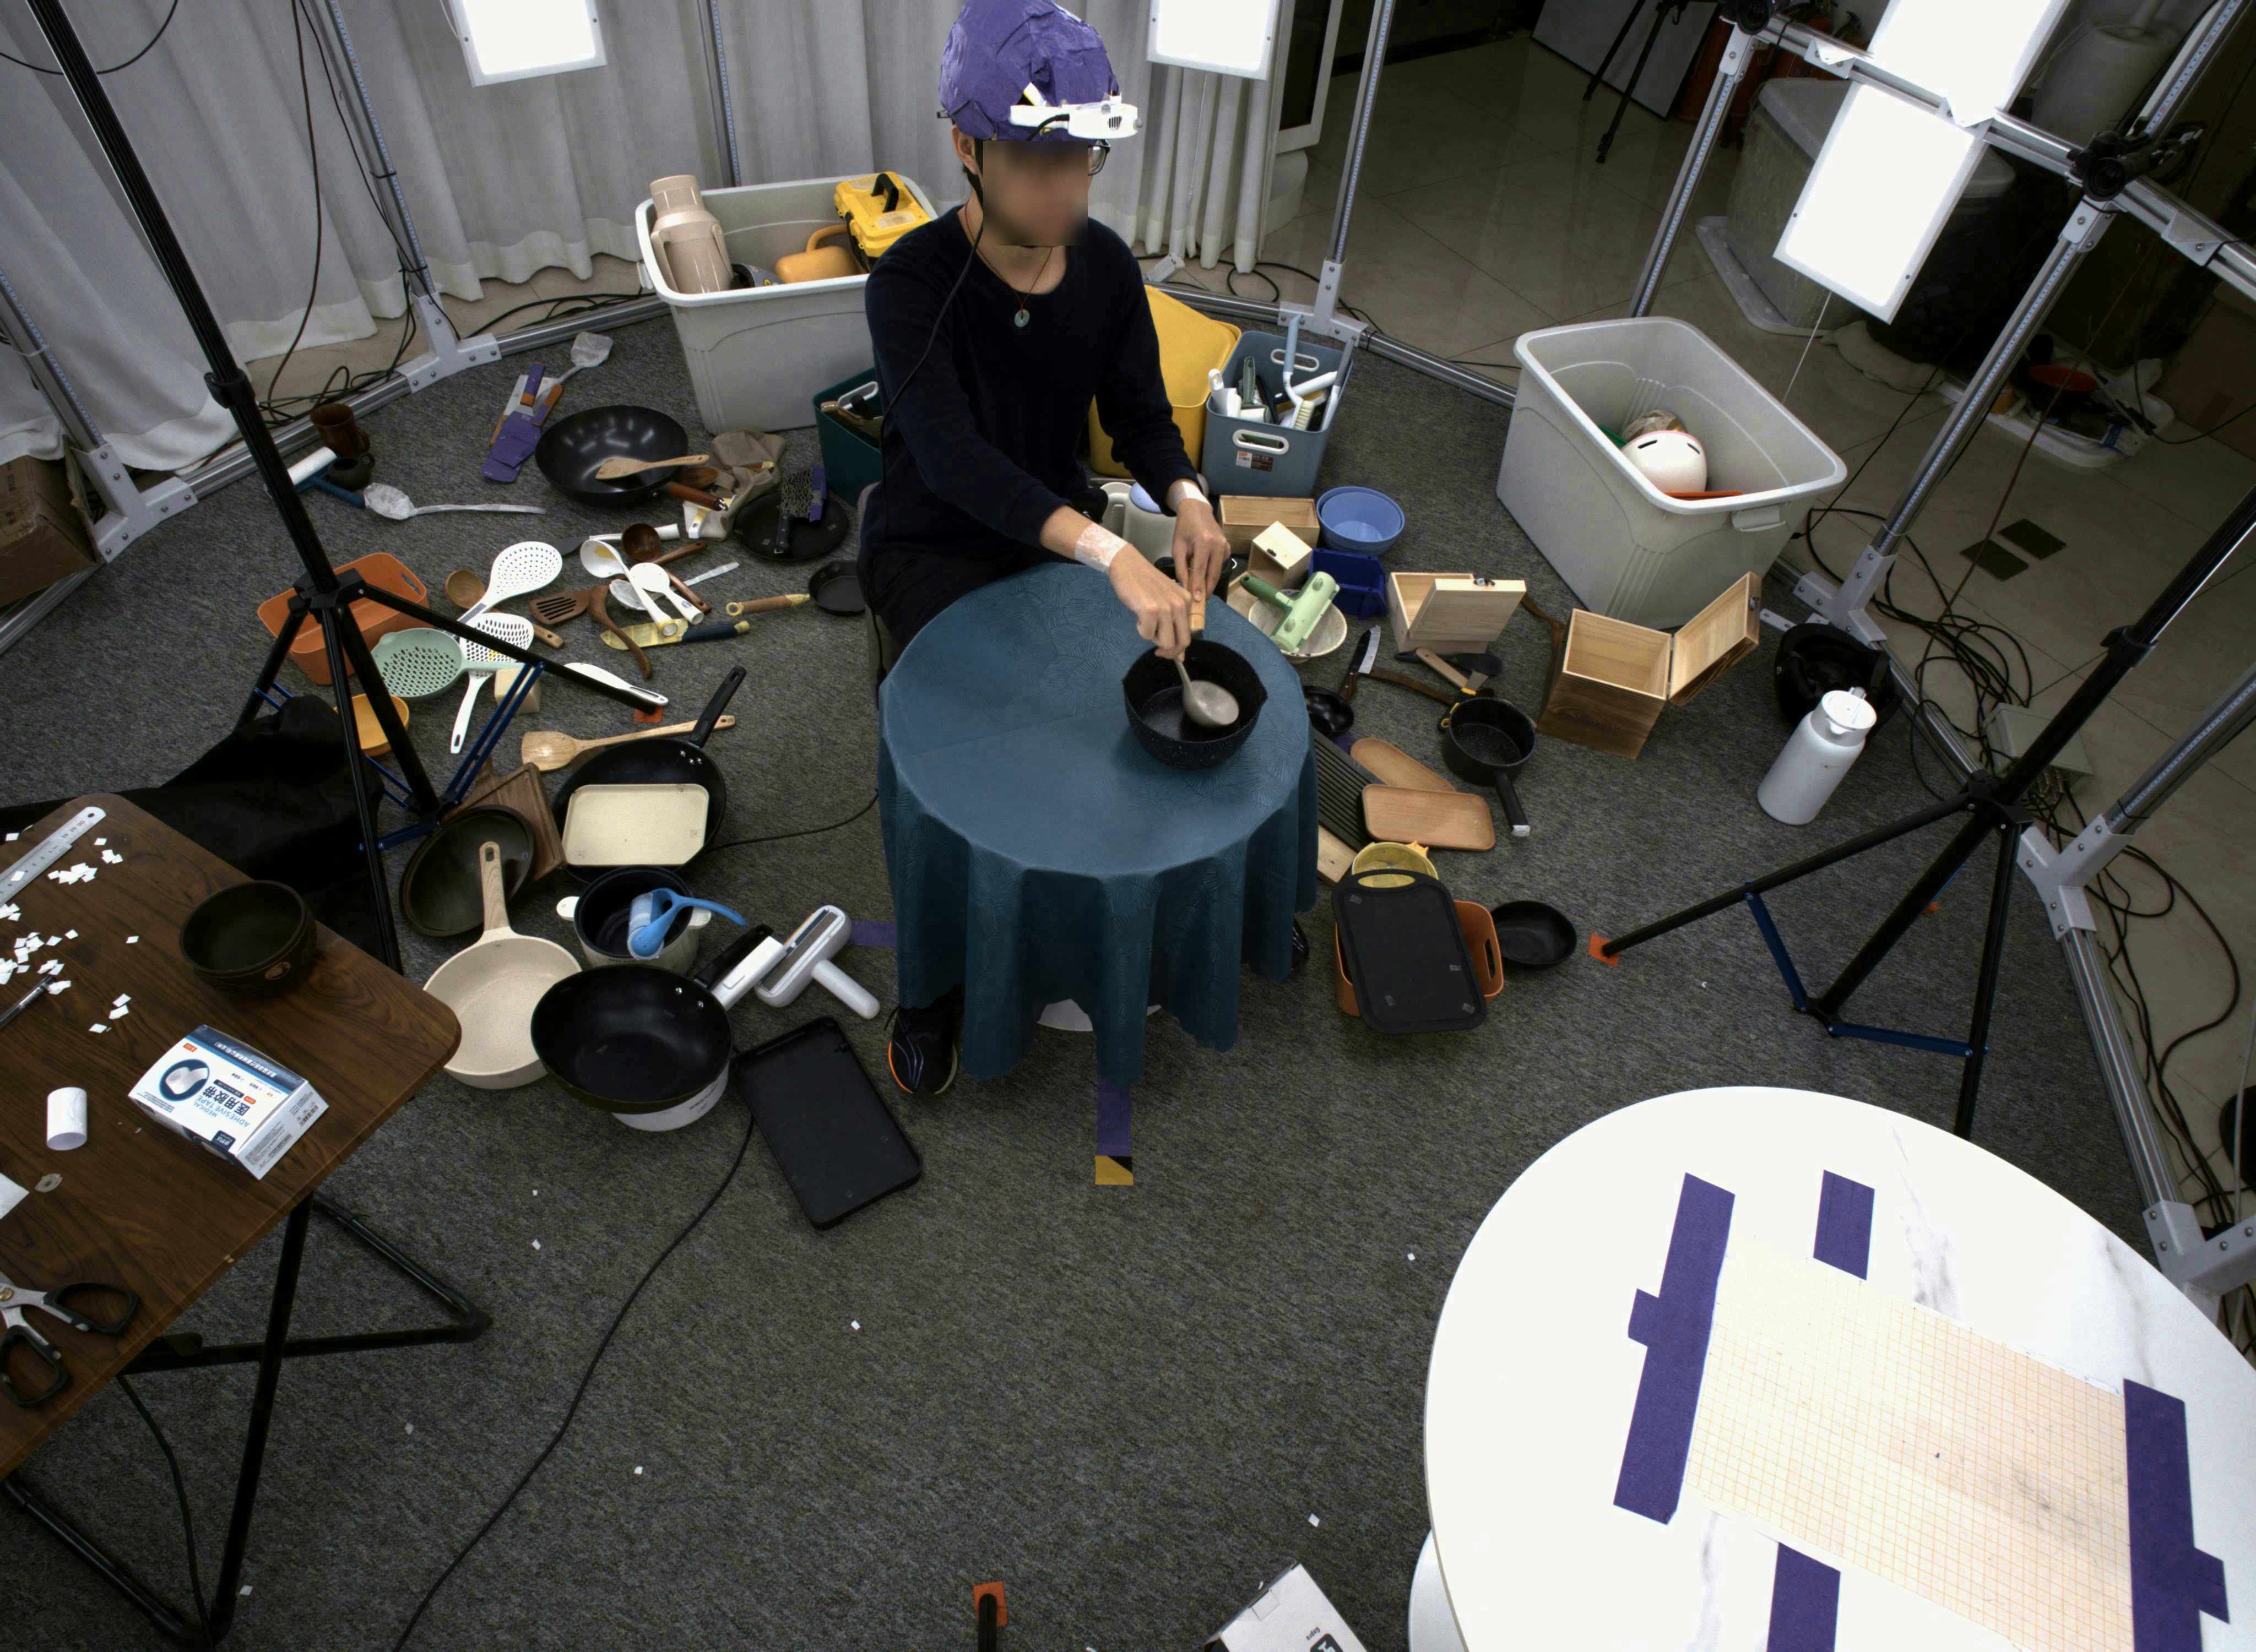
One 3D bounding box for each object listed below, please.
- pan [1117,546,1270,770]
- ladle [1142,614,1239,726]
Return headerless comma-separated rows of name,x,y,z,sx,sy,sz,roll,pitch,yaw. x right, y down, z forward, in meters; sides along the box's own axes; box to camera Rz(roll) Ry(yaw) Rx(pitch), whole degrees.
pan,0.090,-0.233,1.791,0.207,0.106,0.351,2,55,0
ladle,0.084,-0.216,1.676,0.069,0.269,0.091,-32,60,1
